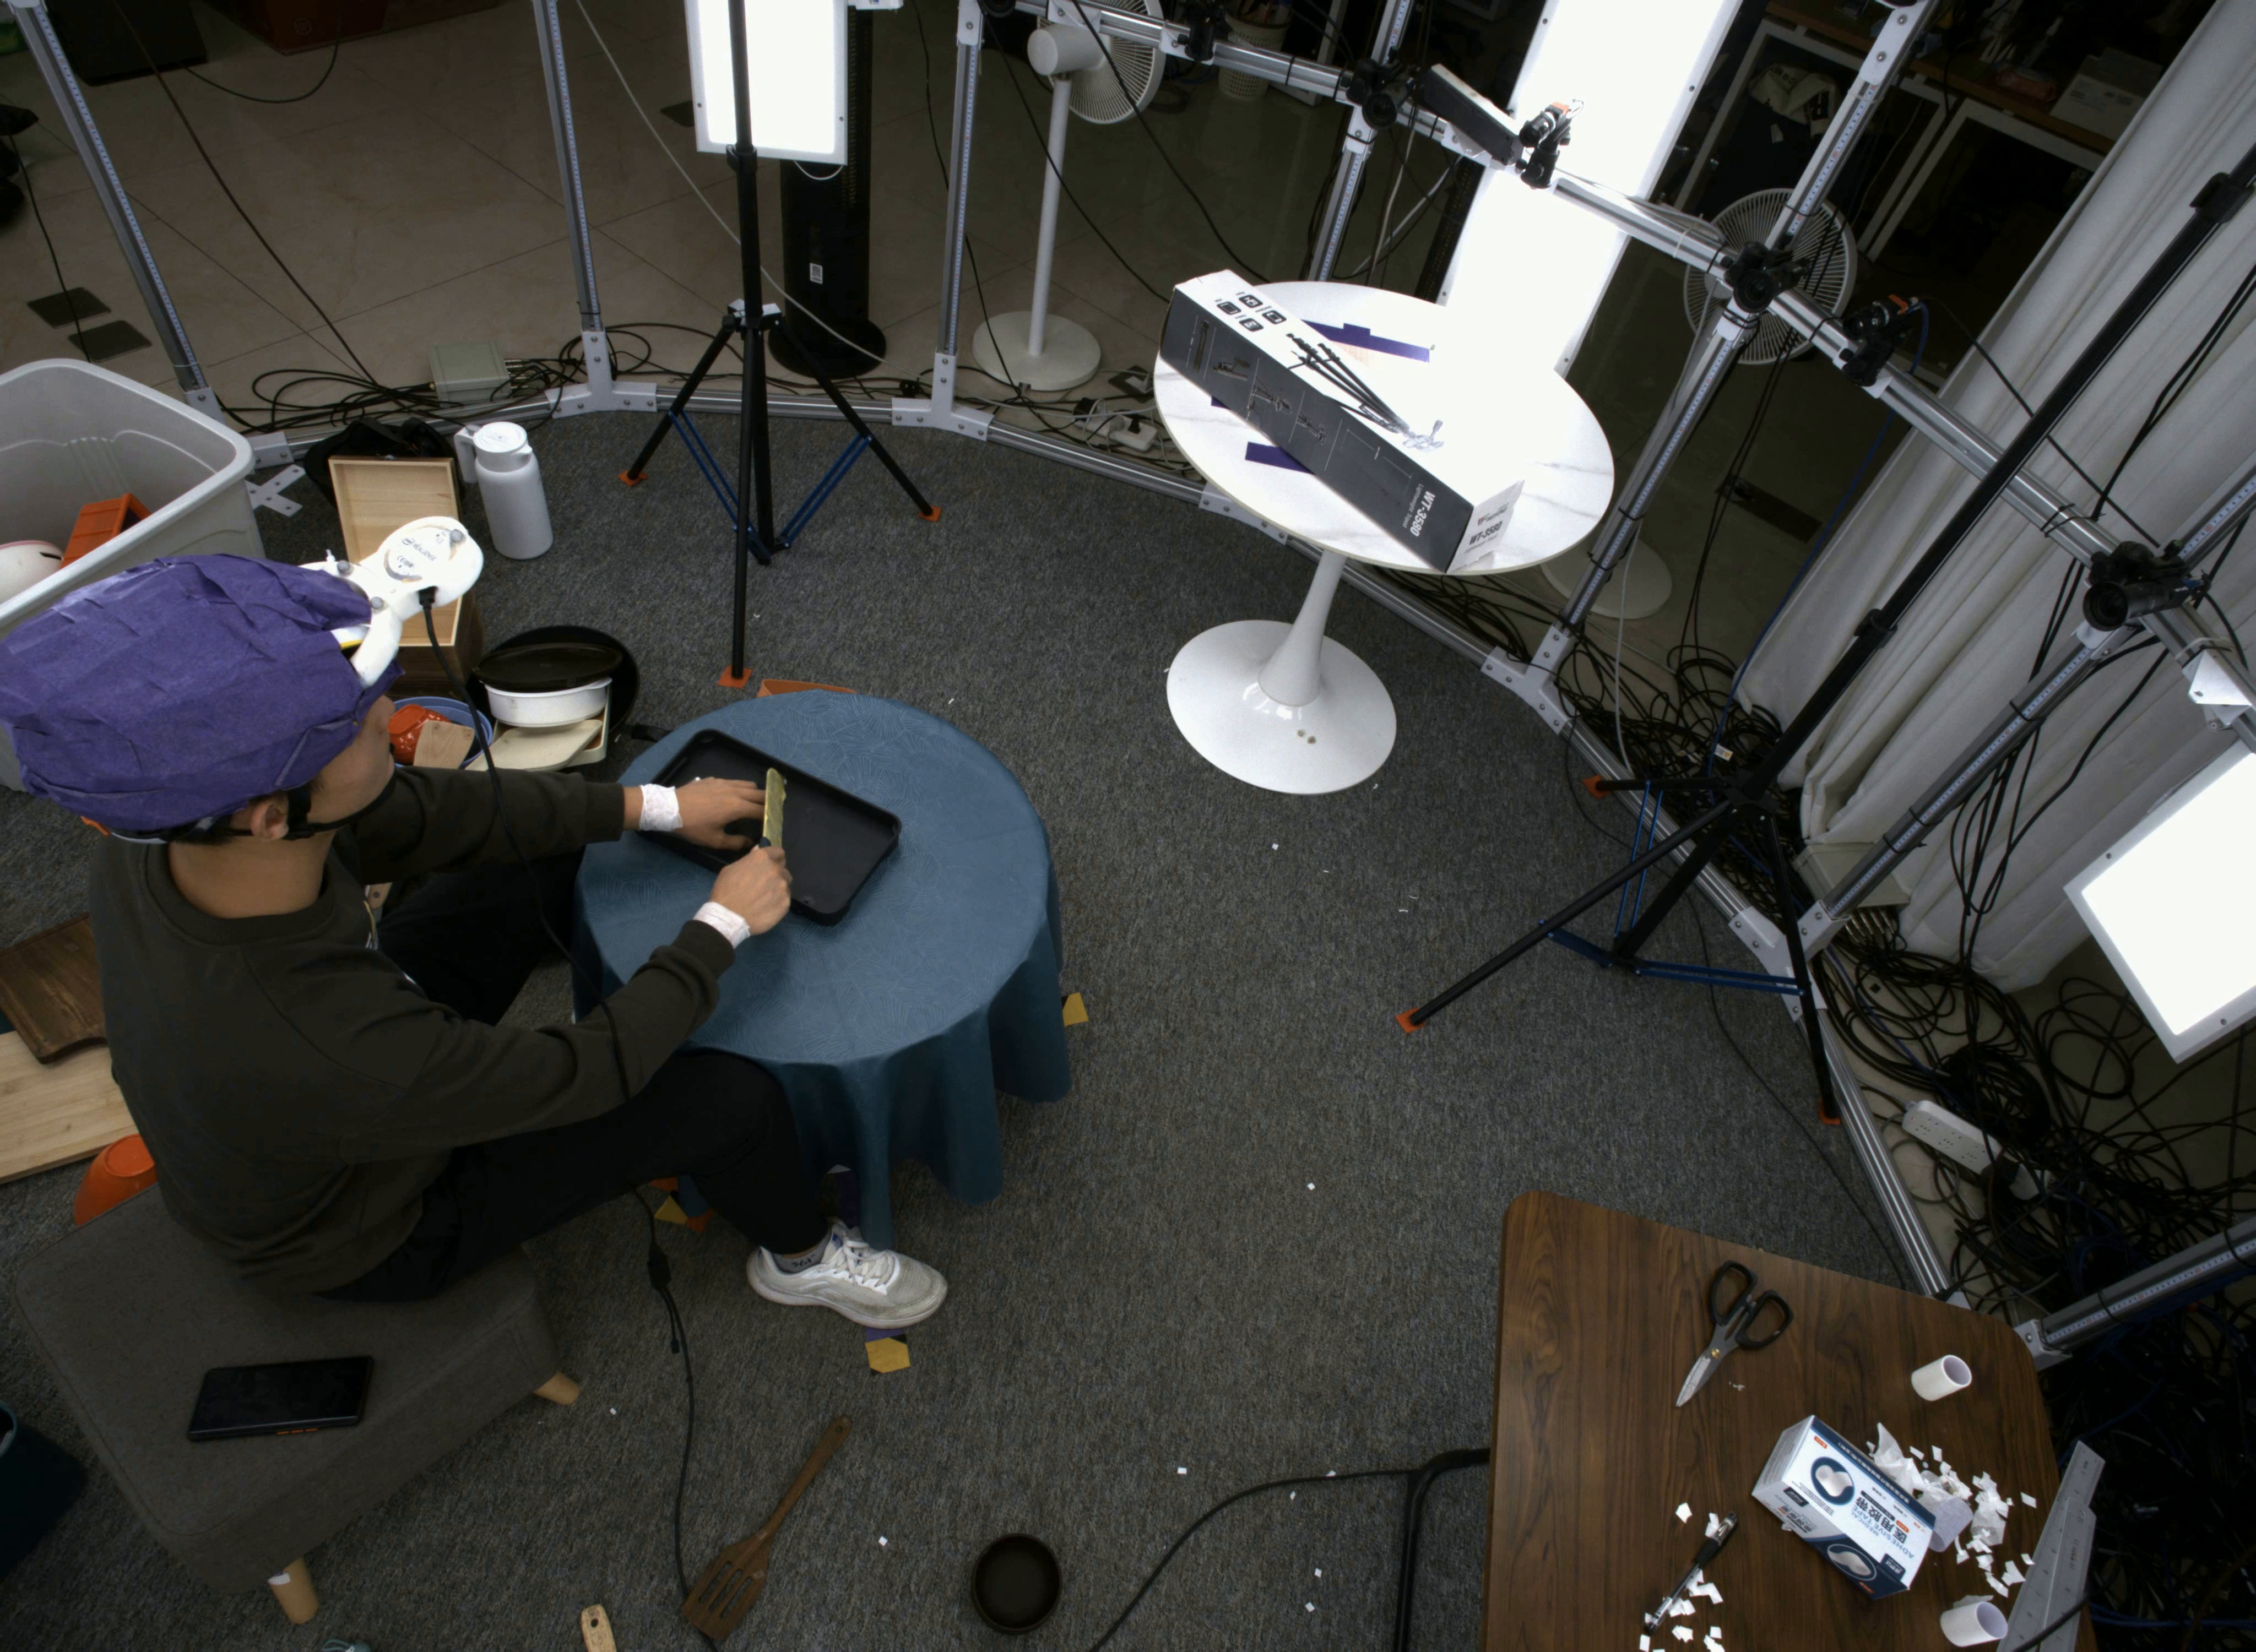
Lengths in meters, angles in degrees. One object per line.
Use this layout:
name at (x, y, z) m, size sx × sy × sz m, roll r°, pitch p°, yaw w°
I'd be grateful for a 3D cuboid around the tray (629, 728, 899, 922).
tray at (-0.478, -0.006, 1.701) m, size 0.314 × 0.038 × 0.183 m, roll 24°, pitch 52°, yaw 4°

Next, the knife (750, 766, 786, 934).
knife at (-0.452, 0.028, 1.644) m, size 0.027 × 0.084 × 0.282 m, roll -9°, pitch 47°, yaw 1°
